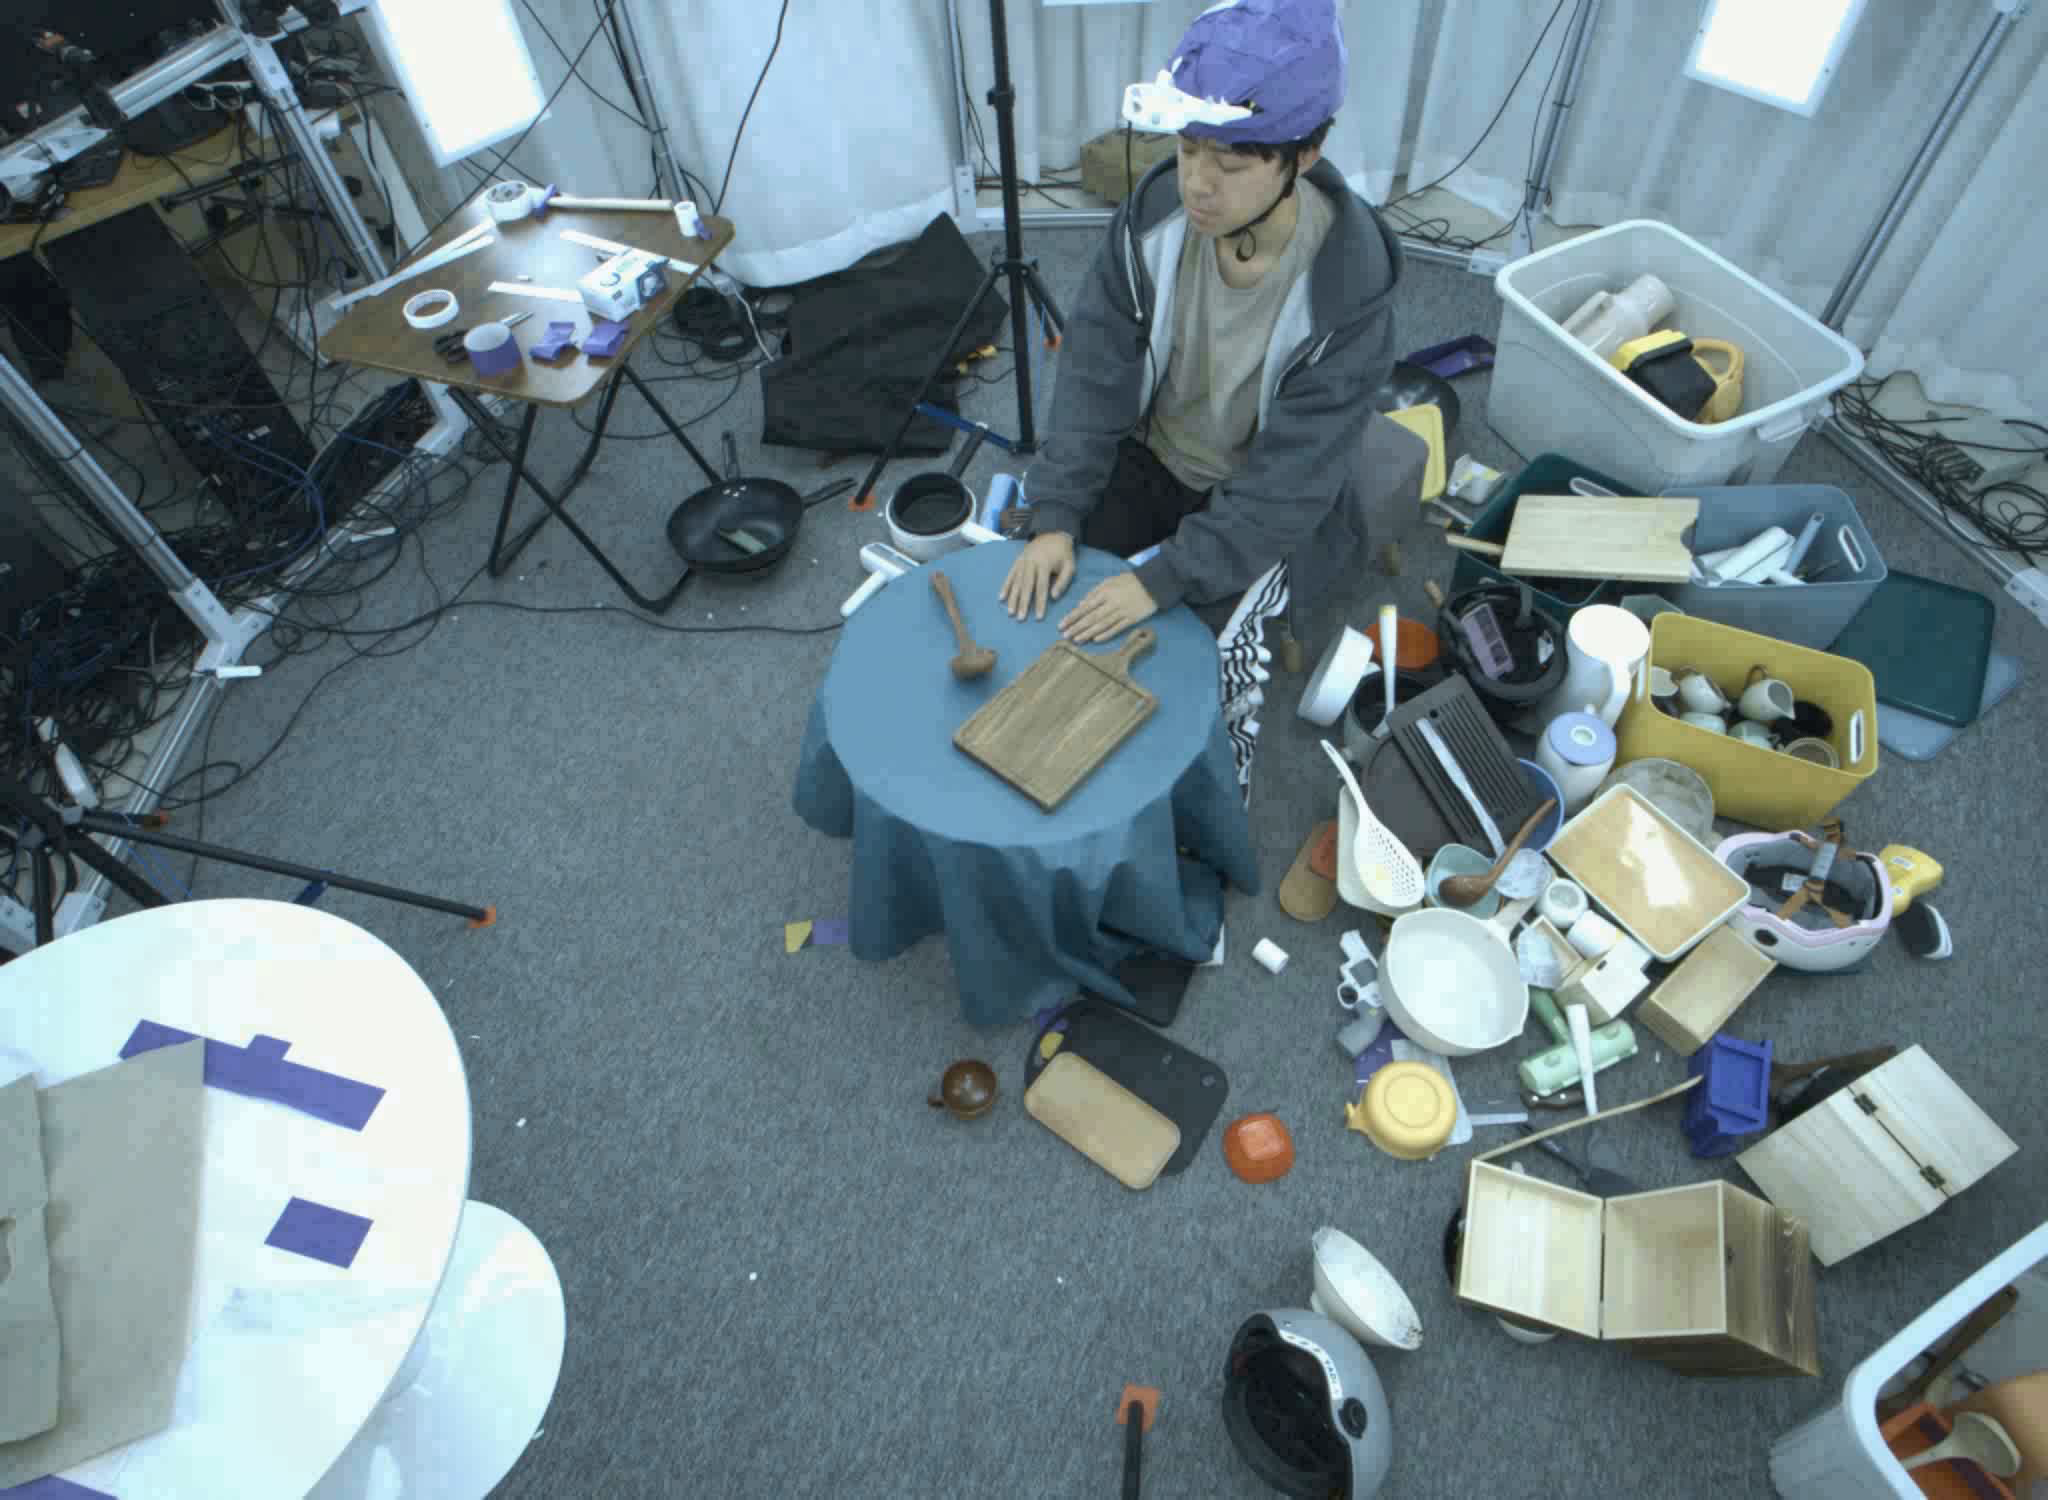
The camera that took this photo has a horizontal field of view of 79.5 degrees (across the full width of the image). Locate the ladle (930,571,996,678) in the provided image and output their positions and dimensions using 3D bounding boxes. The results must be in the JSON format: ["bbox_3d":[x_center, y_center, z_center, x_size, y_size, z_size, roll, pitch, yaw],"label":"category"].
[{"bbox_3d":[-0.107,-0.207,1.900,0.077,0.065,0.256,-13,55,-11],"label":"ladle"}]

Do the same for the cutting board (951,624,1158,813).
[{"bbox_3d":[0.079,-0.073,1.825,0.198,0.023,0.354,35,63,22],"label":"cutting board"}]
